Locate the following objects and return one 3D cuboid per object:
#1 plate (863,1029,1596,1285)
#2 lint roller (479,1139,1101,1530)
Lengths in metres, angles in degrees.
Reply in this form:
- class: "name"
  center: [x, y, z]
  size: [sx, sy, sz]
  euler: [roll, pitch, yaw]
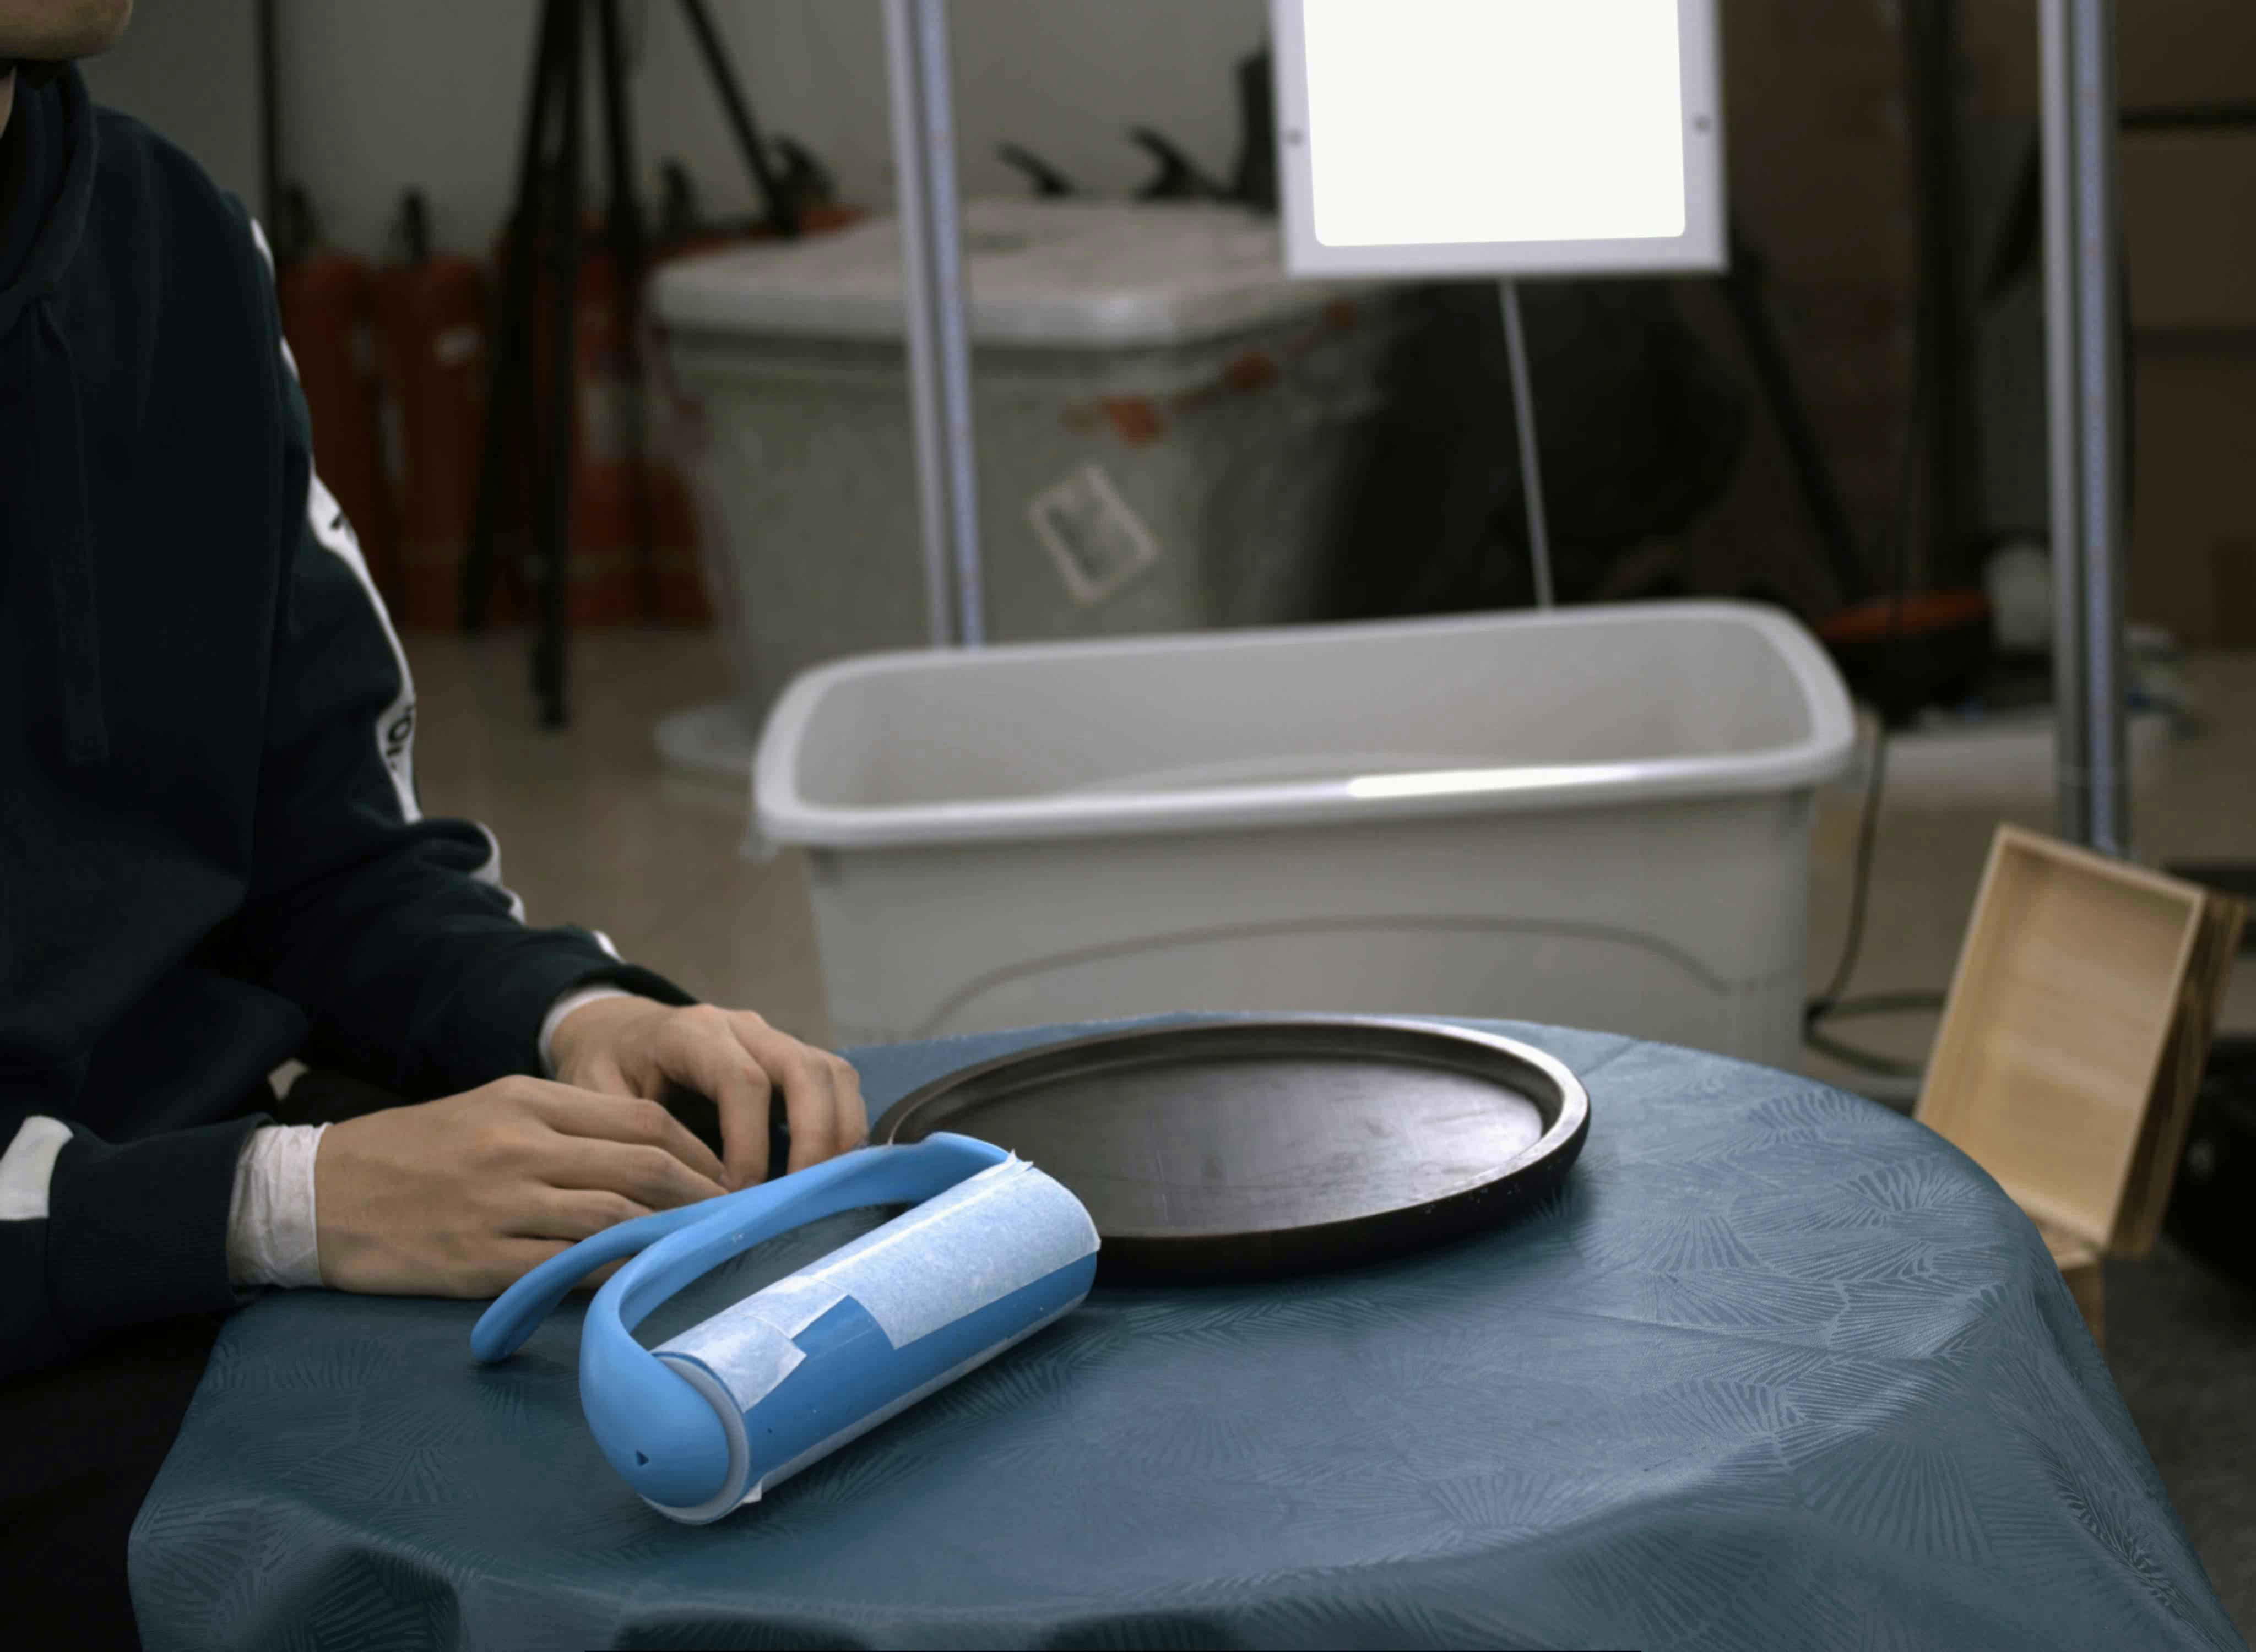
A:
- class: "plate"
  center: [0.035, 0.111, 1.897]
  size: [0.254, 0.029, 0.254]
  euler: [-4, 14, 0]
- class: "lint roller"
  center: [-0.132, 0.151, 1.722]
  size: [0.183, 0.068, 0.224]
  euler: [5, 19, 30]
